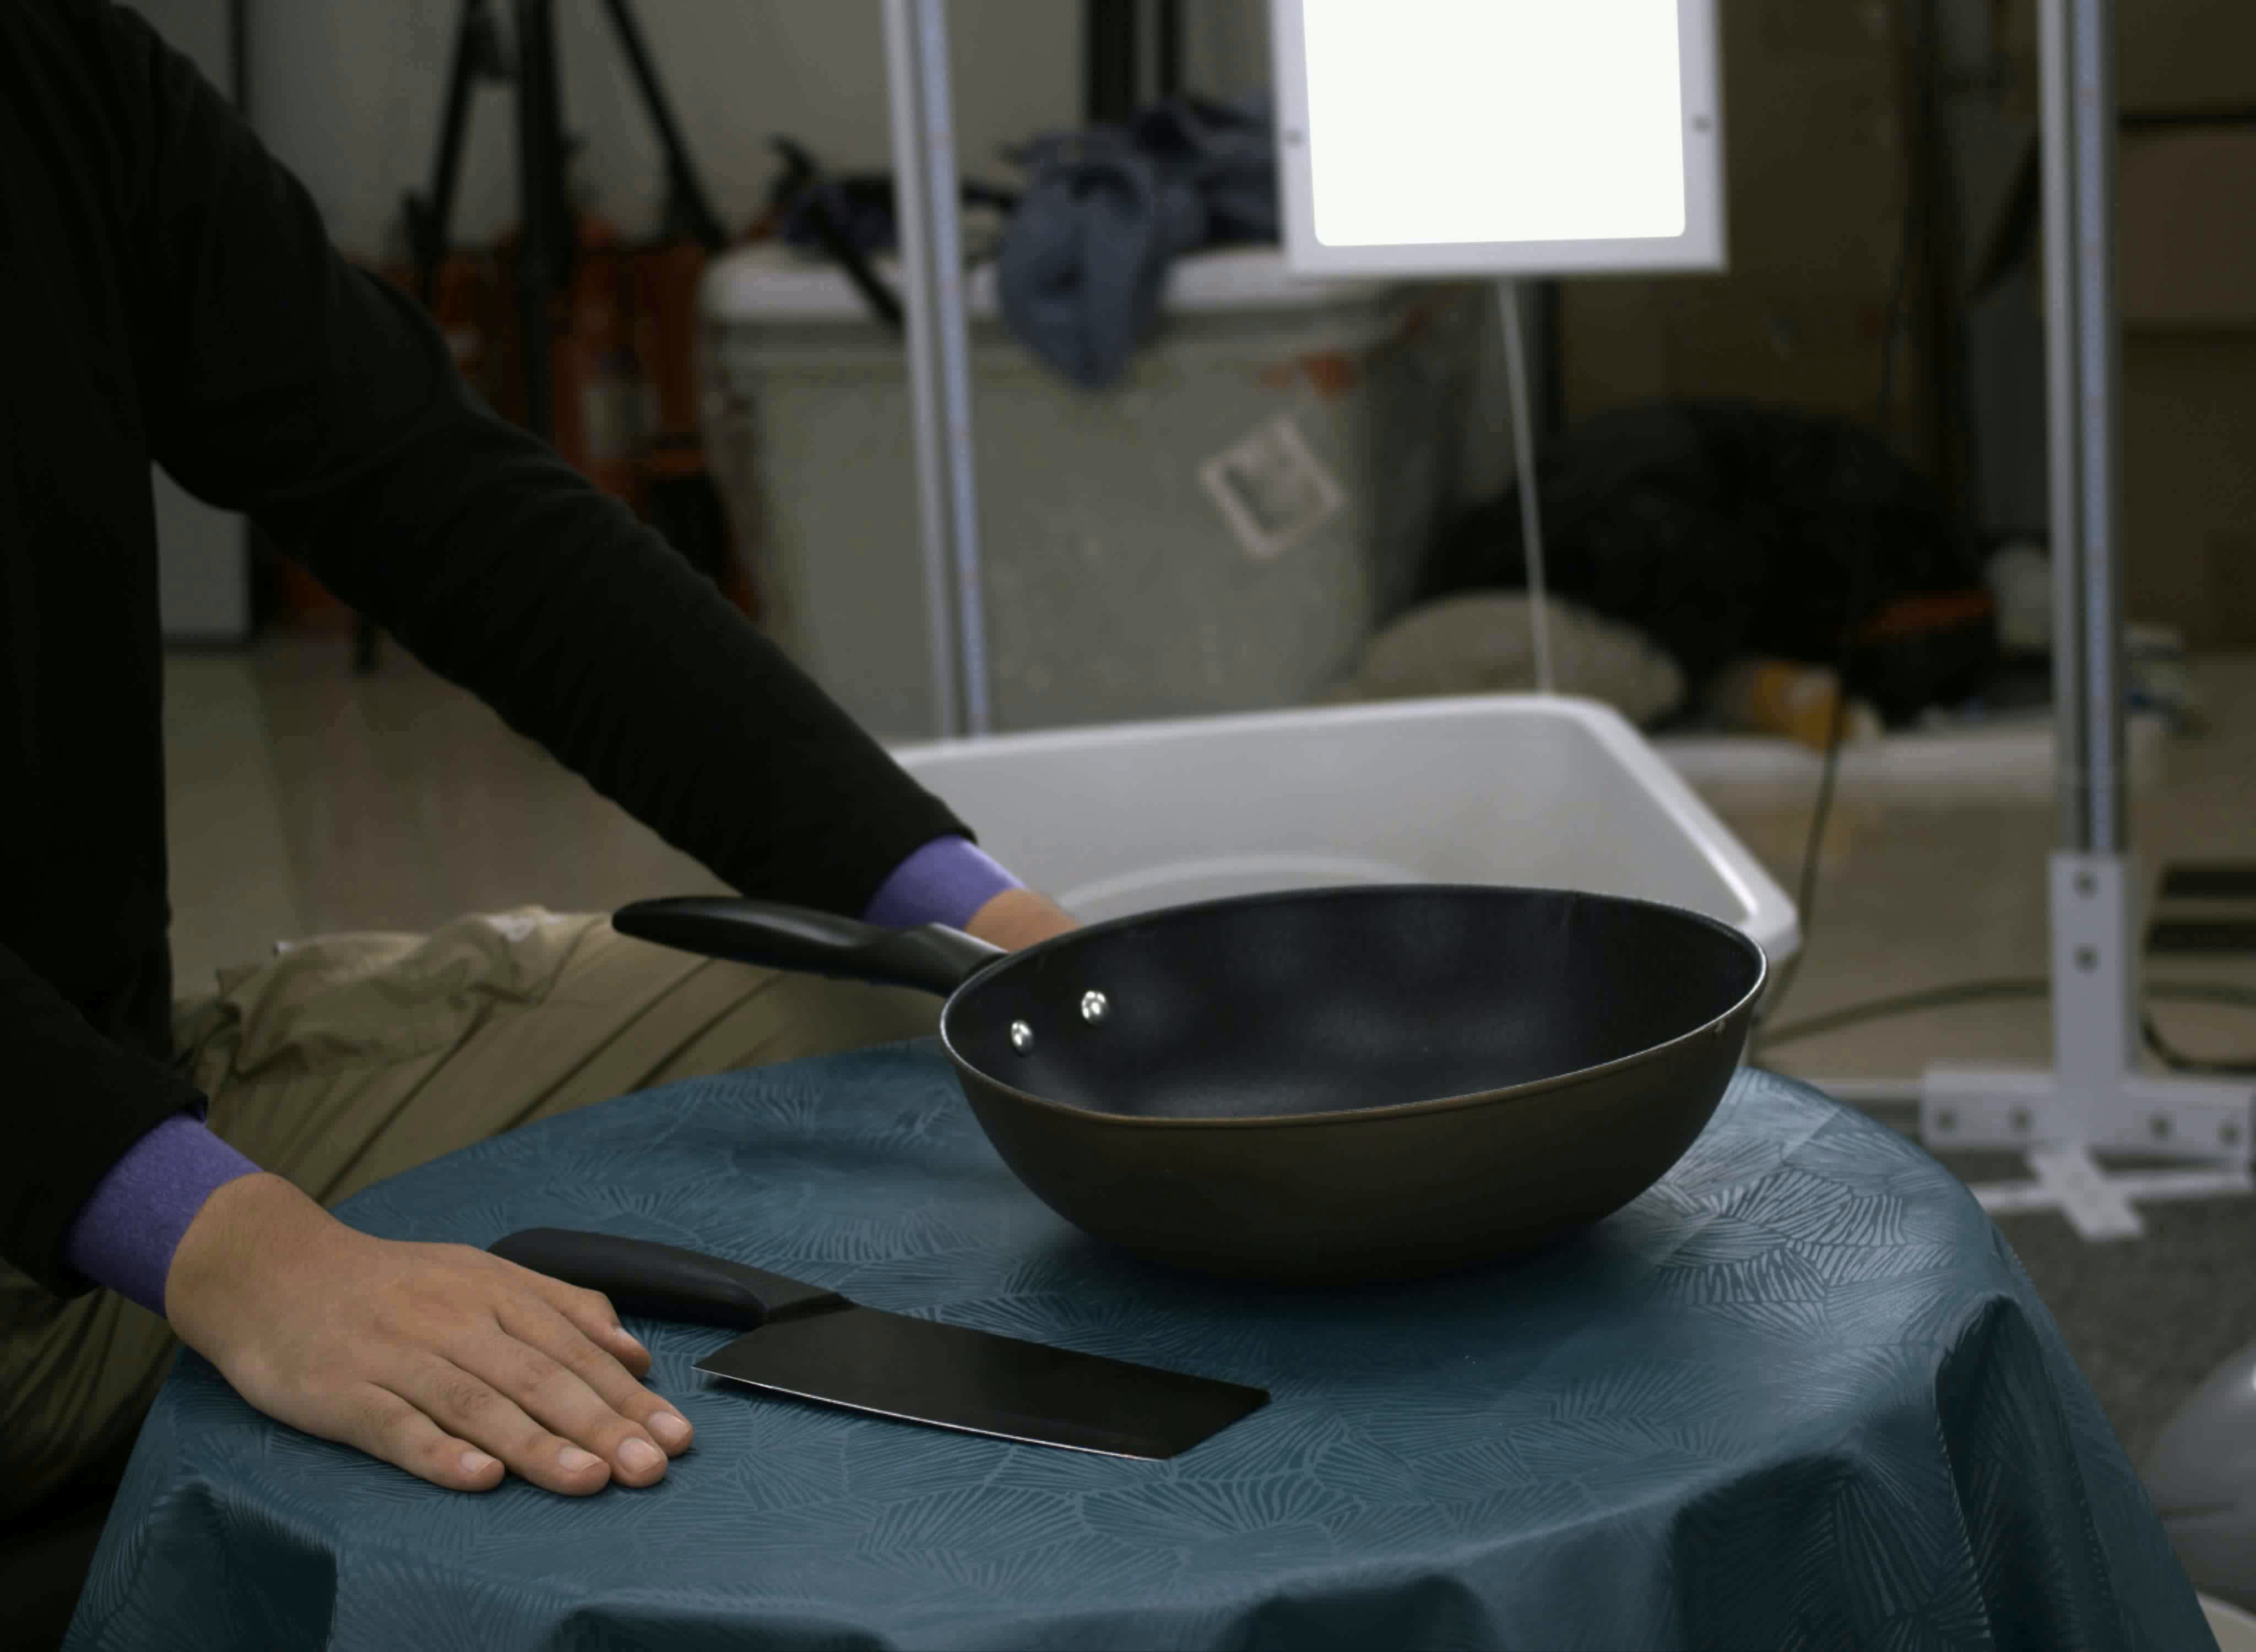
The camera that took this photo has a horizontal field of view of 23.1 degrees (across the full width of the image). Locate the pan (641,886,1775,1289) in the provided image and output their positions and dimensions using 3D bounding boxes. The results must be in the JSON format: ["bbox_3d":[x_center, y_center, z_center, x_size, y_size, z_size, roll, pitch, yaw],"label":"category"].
[{"bbox_3d":[0.006,0.085,1.896,0.473,0.087,0.281,5,17,39],"label":"pan"}]

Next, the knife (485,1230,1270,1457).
[{"bbox_3d":[-0.091,0.164,1.751,0.309,0.021,0.079,9,20,41],"label":"knife"}]
